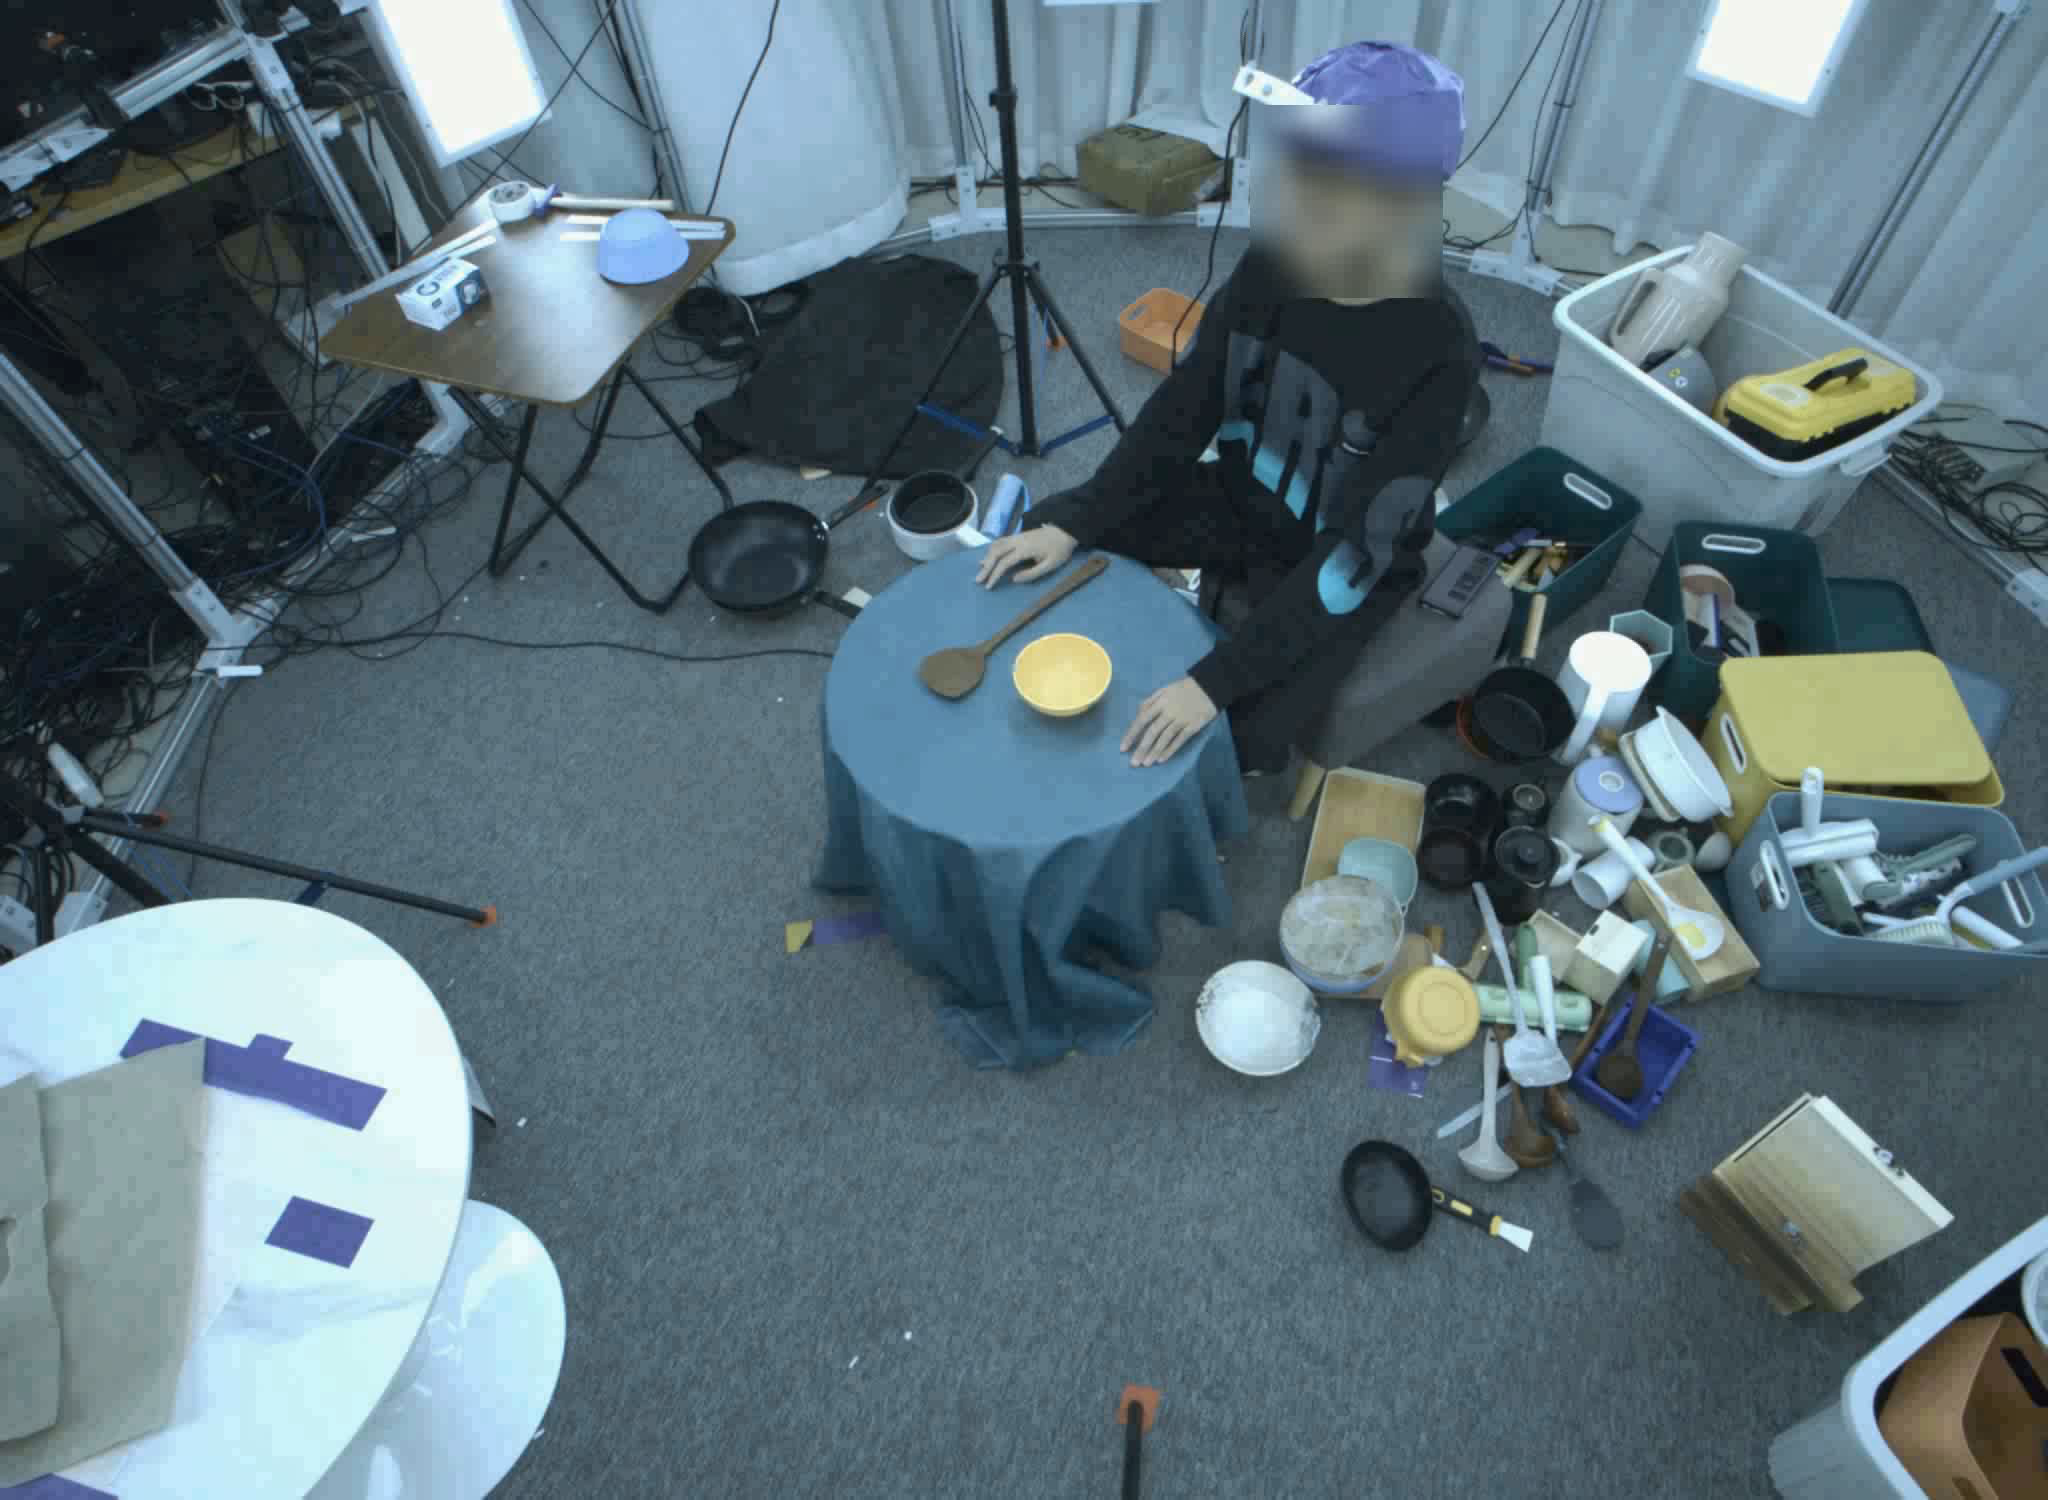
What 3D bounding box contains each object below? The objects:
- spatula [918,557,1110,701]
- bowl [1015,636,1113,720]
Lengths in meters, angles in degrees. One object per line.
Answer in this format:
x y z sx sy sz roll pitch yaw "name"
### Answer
-0.002 -0.202 1.931 0.389 0.016 0.094 -39 63 -23 "spatula"
0.058 -0.096 1.830 0.145 0.060 0.144 1 57 0 "bowl"
